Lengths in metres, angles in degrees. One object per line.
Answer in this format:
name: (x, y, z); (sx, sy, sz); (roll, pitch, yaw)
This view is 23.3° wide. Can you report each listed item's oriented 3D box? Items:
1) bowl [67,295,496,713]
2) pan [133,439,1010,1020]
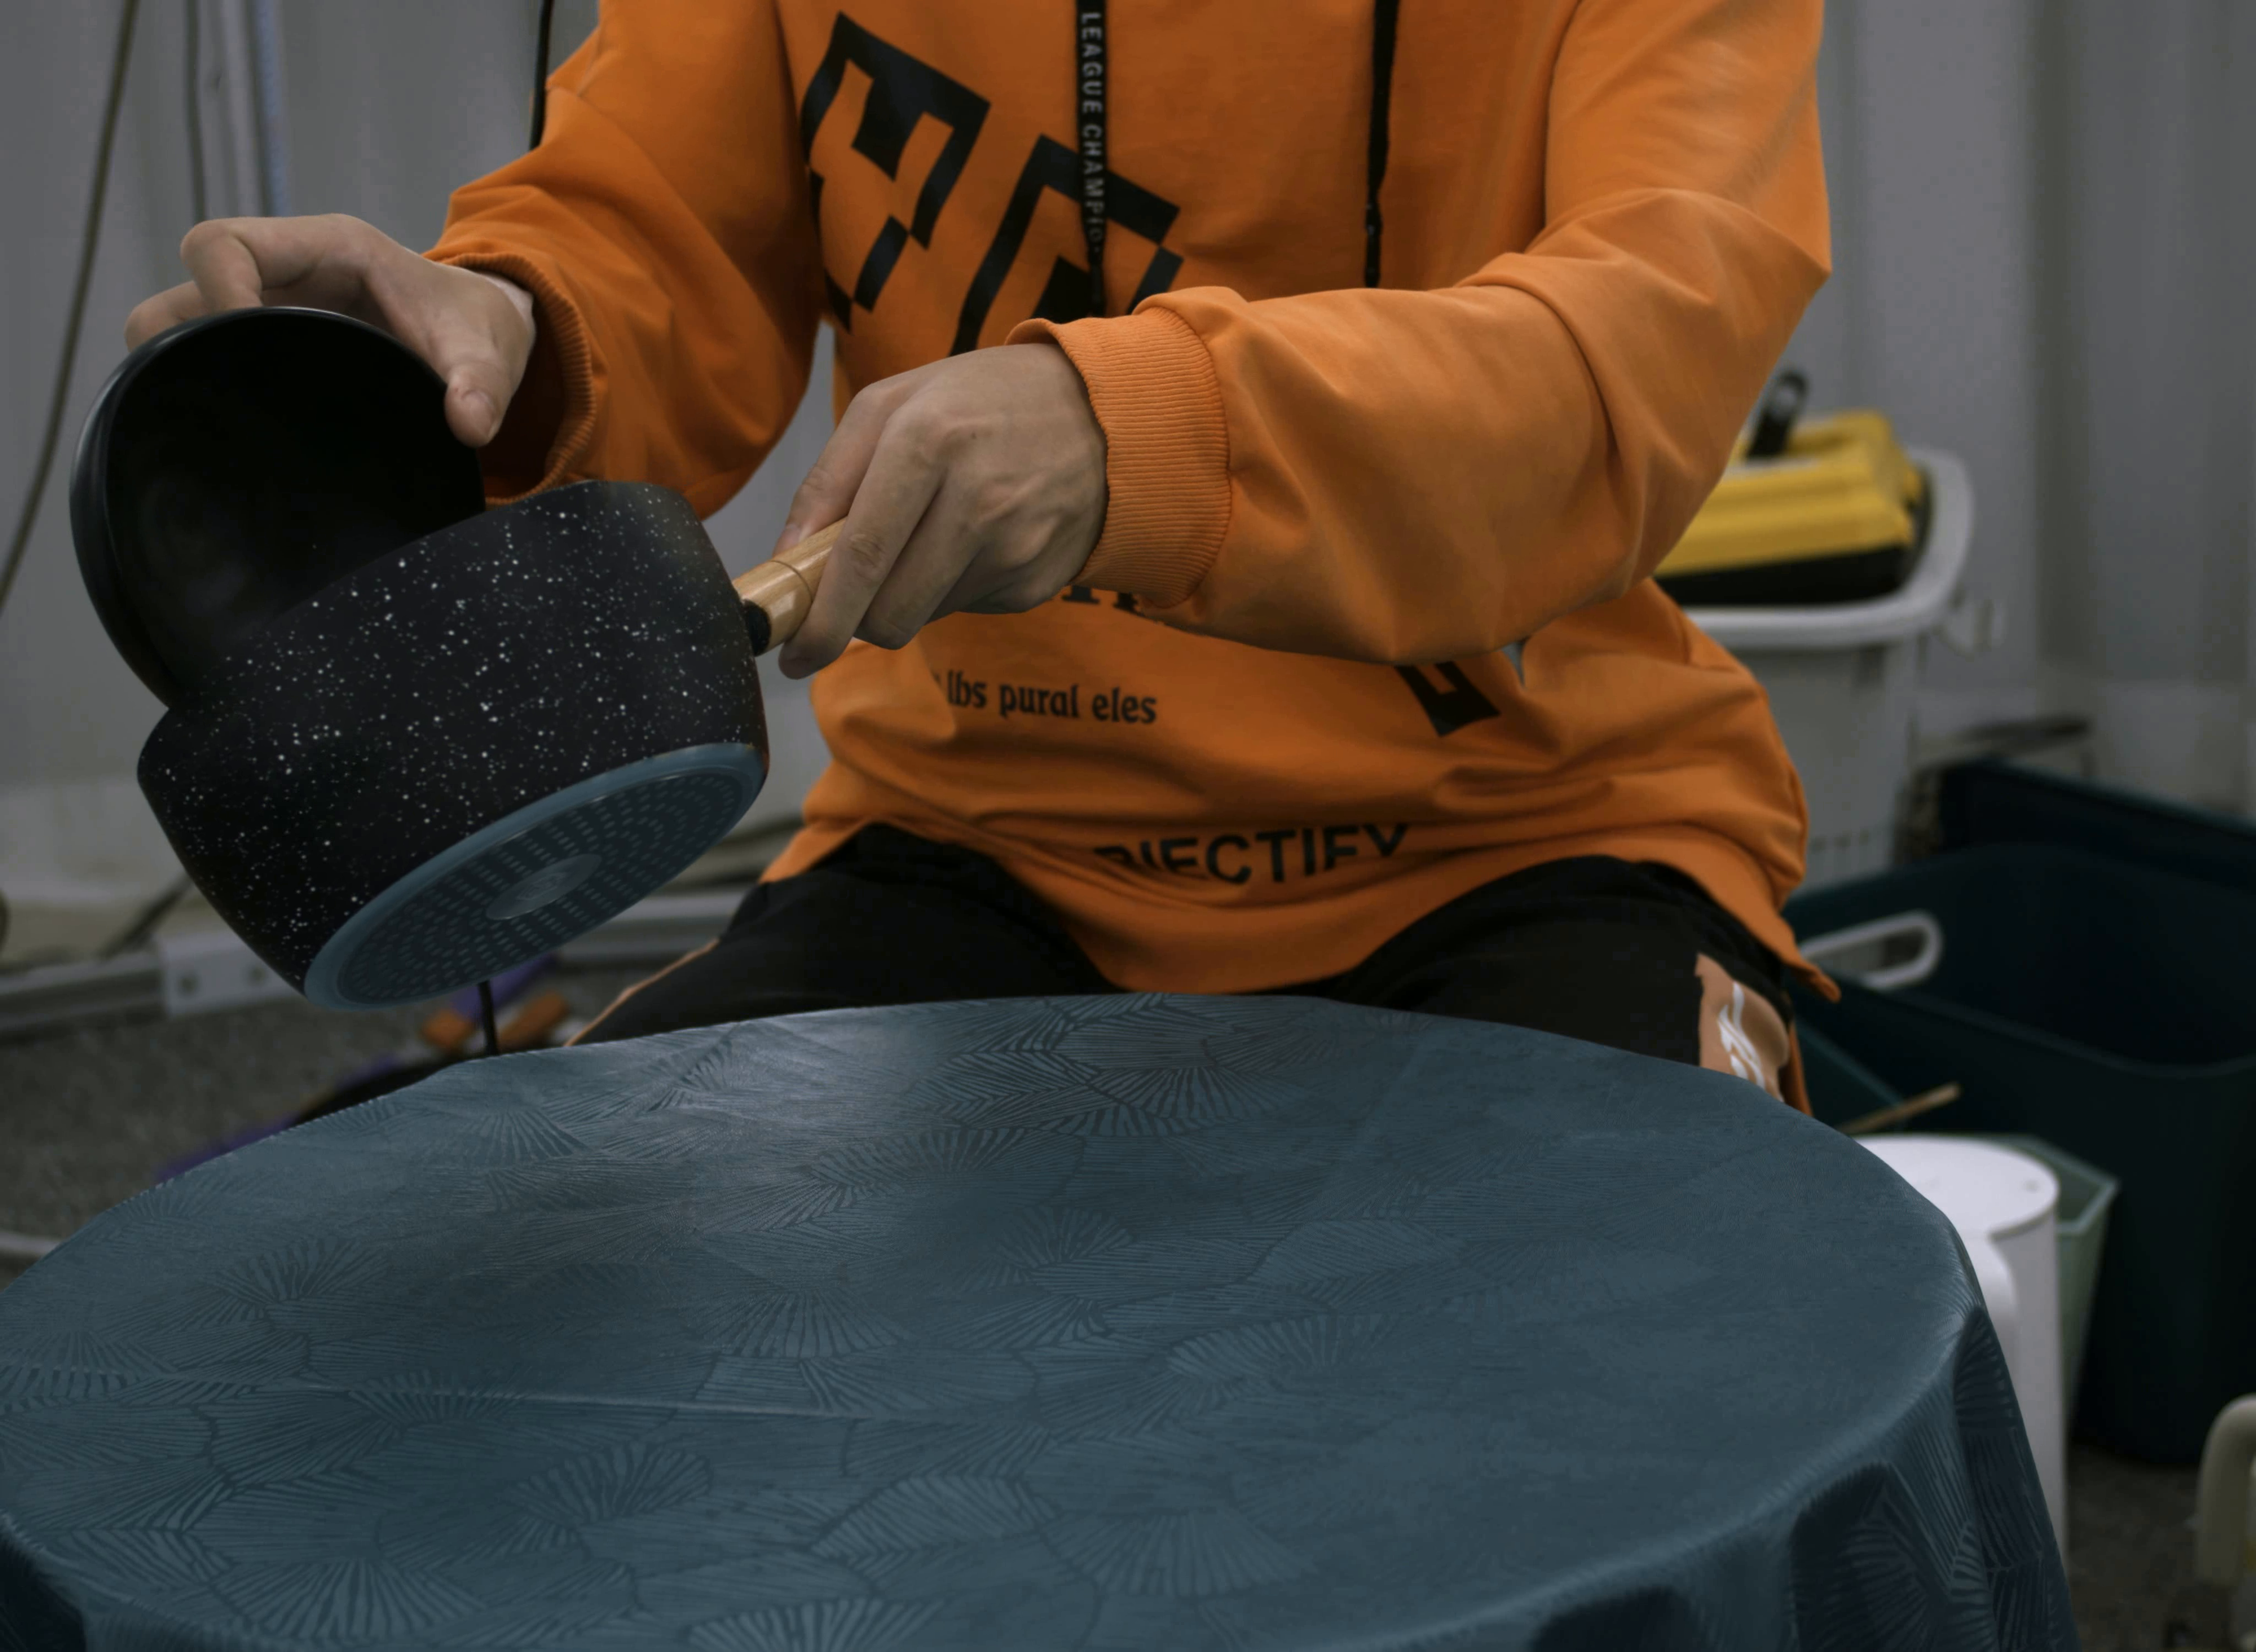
bowl: (-0.268, -0.091, 1.666); (0.067, 0.138, 0.168); (9, -16, 37)
pan: (-0.143, -0.042, 1.682); (0.342, 0.109, 0.206); (-17, -19, -45)
